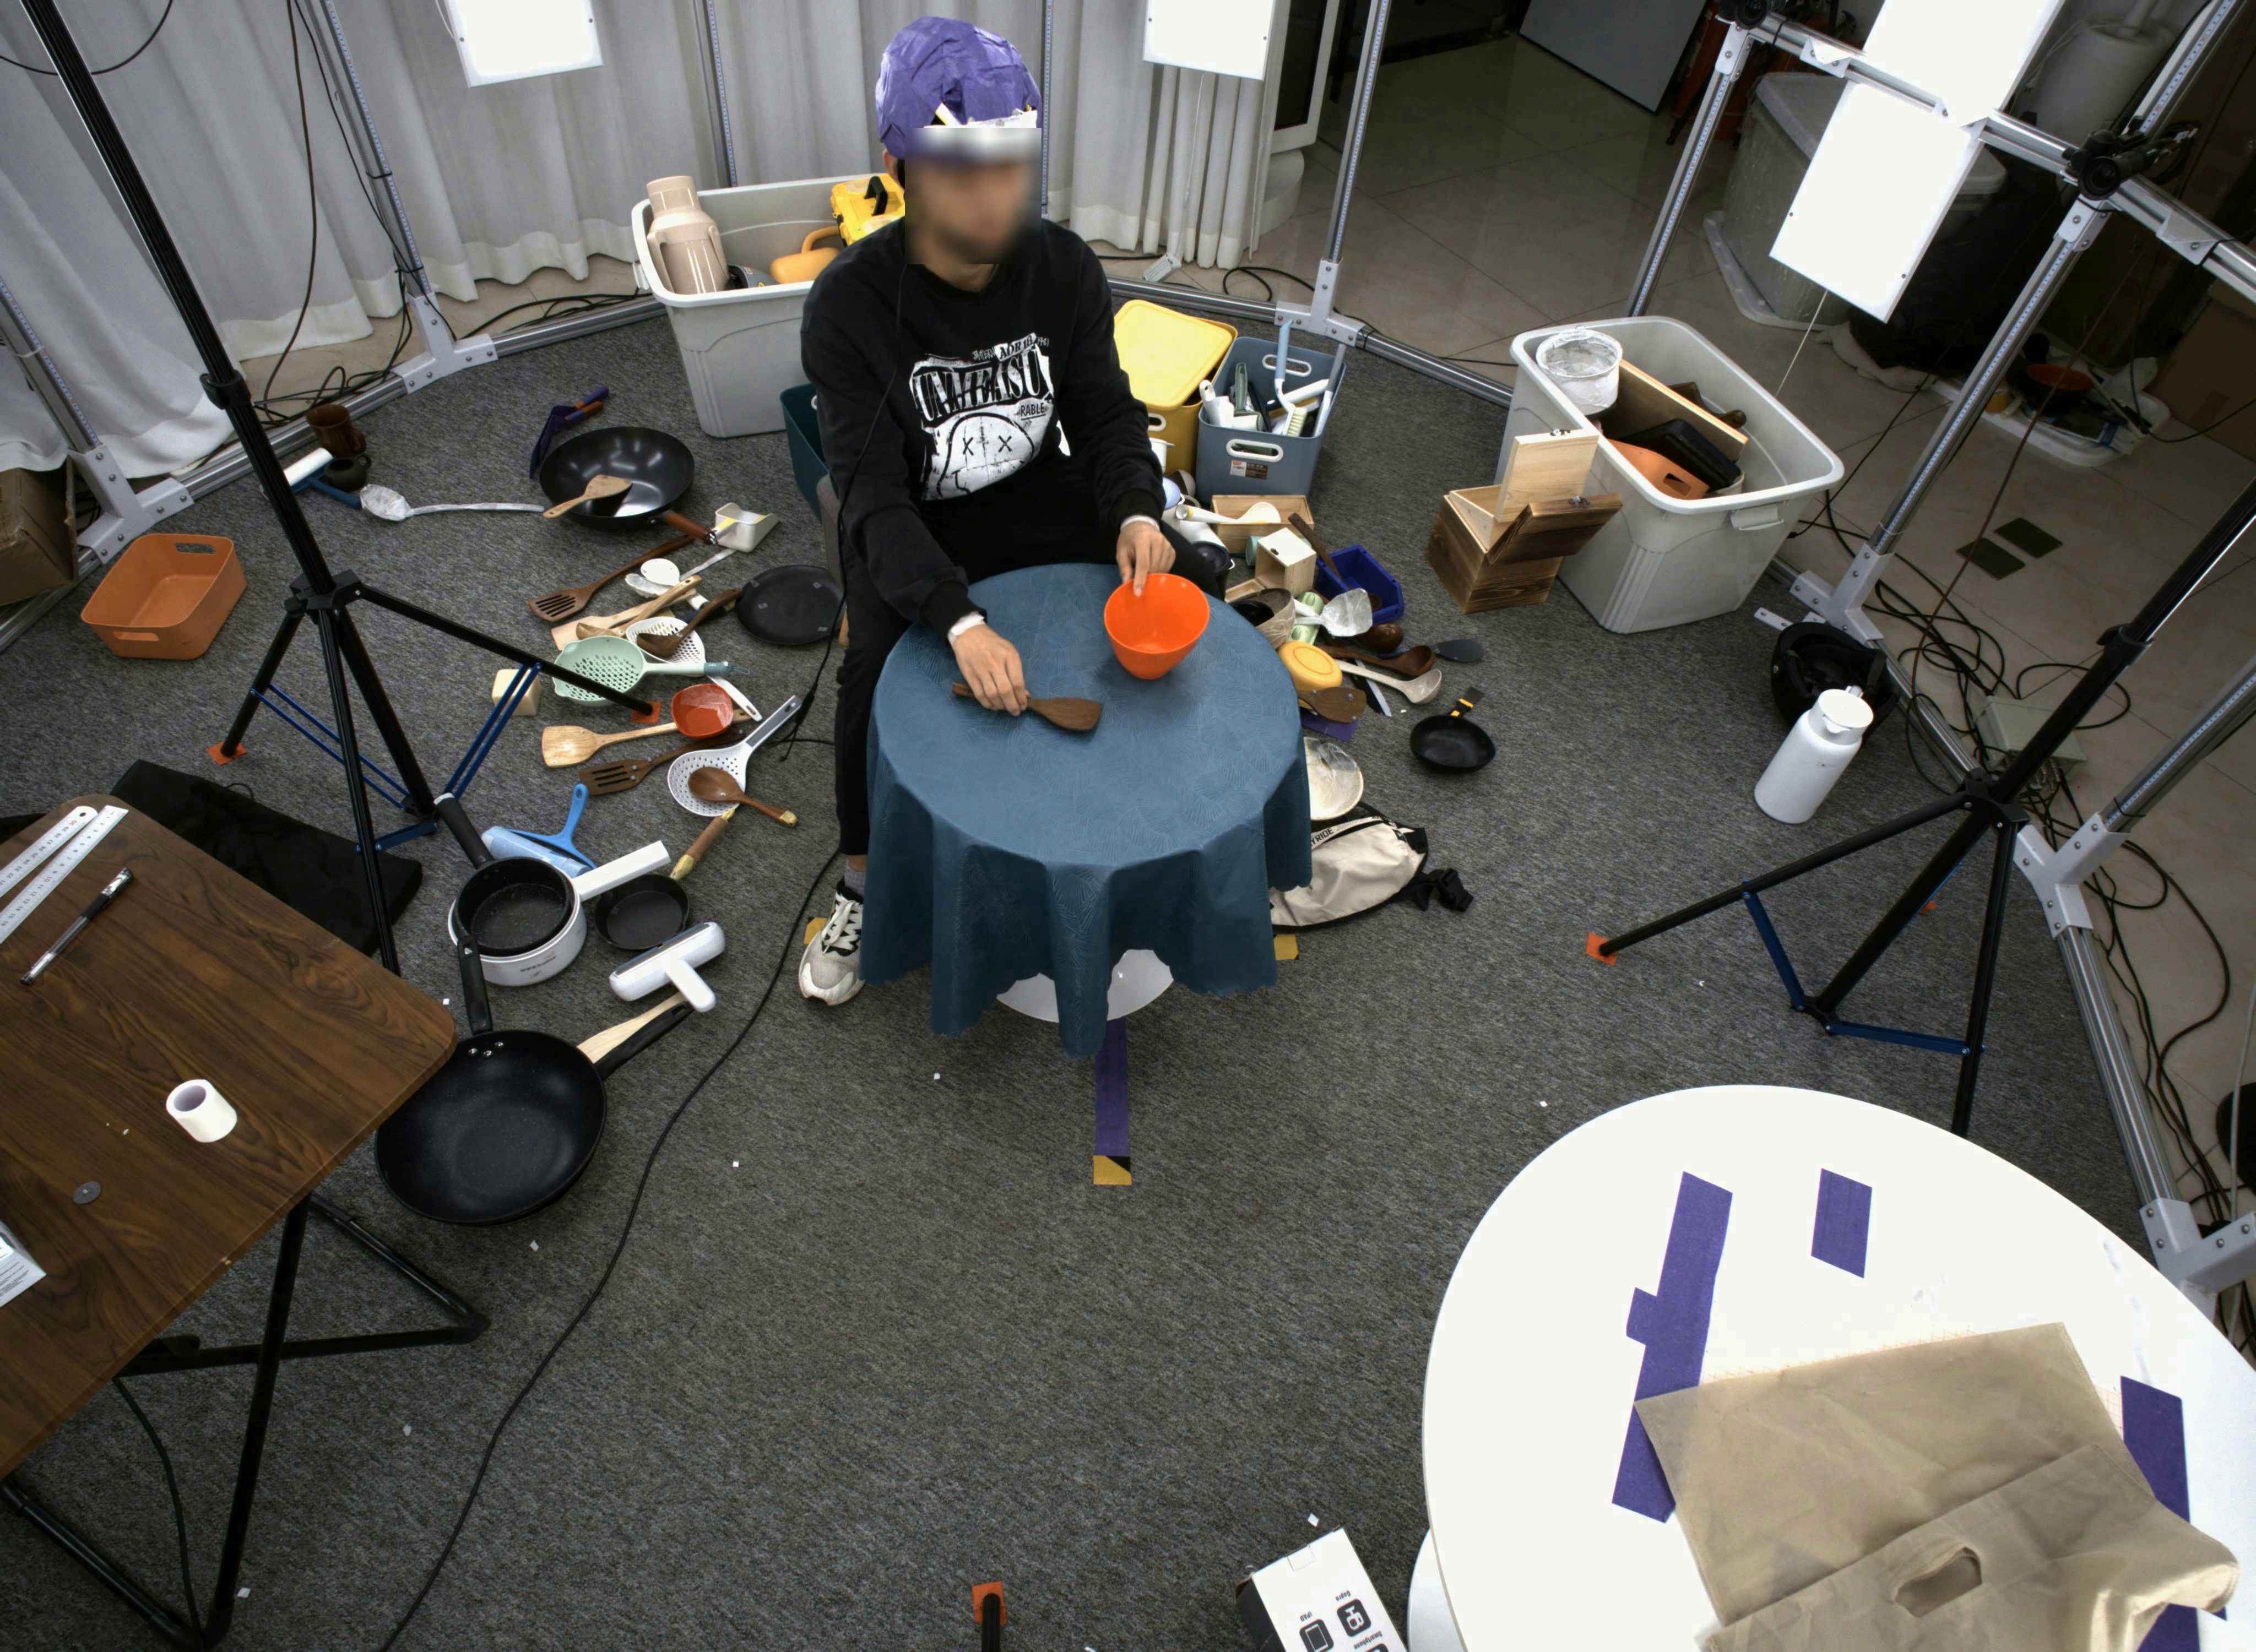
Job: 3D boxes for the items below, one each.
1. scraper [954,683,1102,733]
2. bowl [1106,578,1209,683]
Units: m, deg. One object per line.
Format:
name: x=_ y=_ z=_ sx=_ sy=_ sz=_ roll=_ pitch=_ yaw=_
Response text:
scraper: x=-0.142 y=-0.172 z=1.811 sx=0.211 sy=0.010 sz=0.077 roll=13 pitch=40 yaw=5
bowl: x=0.040 y=-0.273 z=1.860 sx=0.148 sy=0.102 sz=0.152 roll=2 pitch=49 yaw=-2
